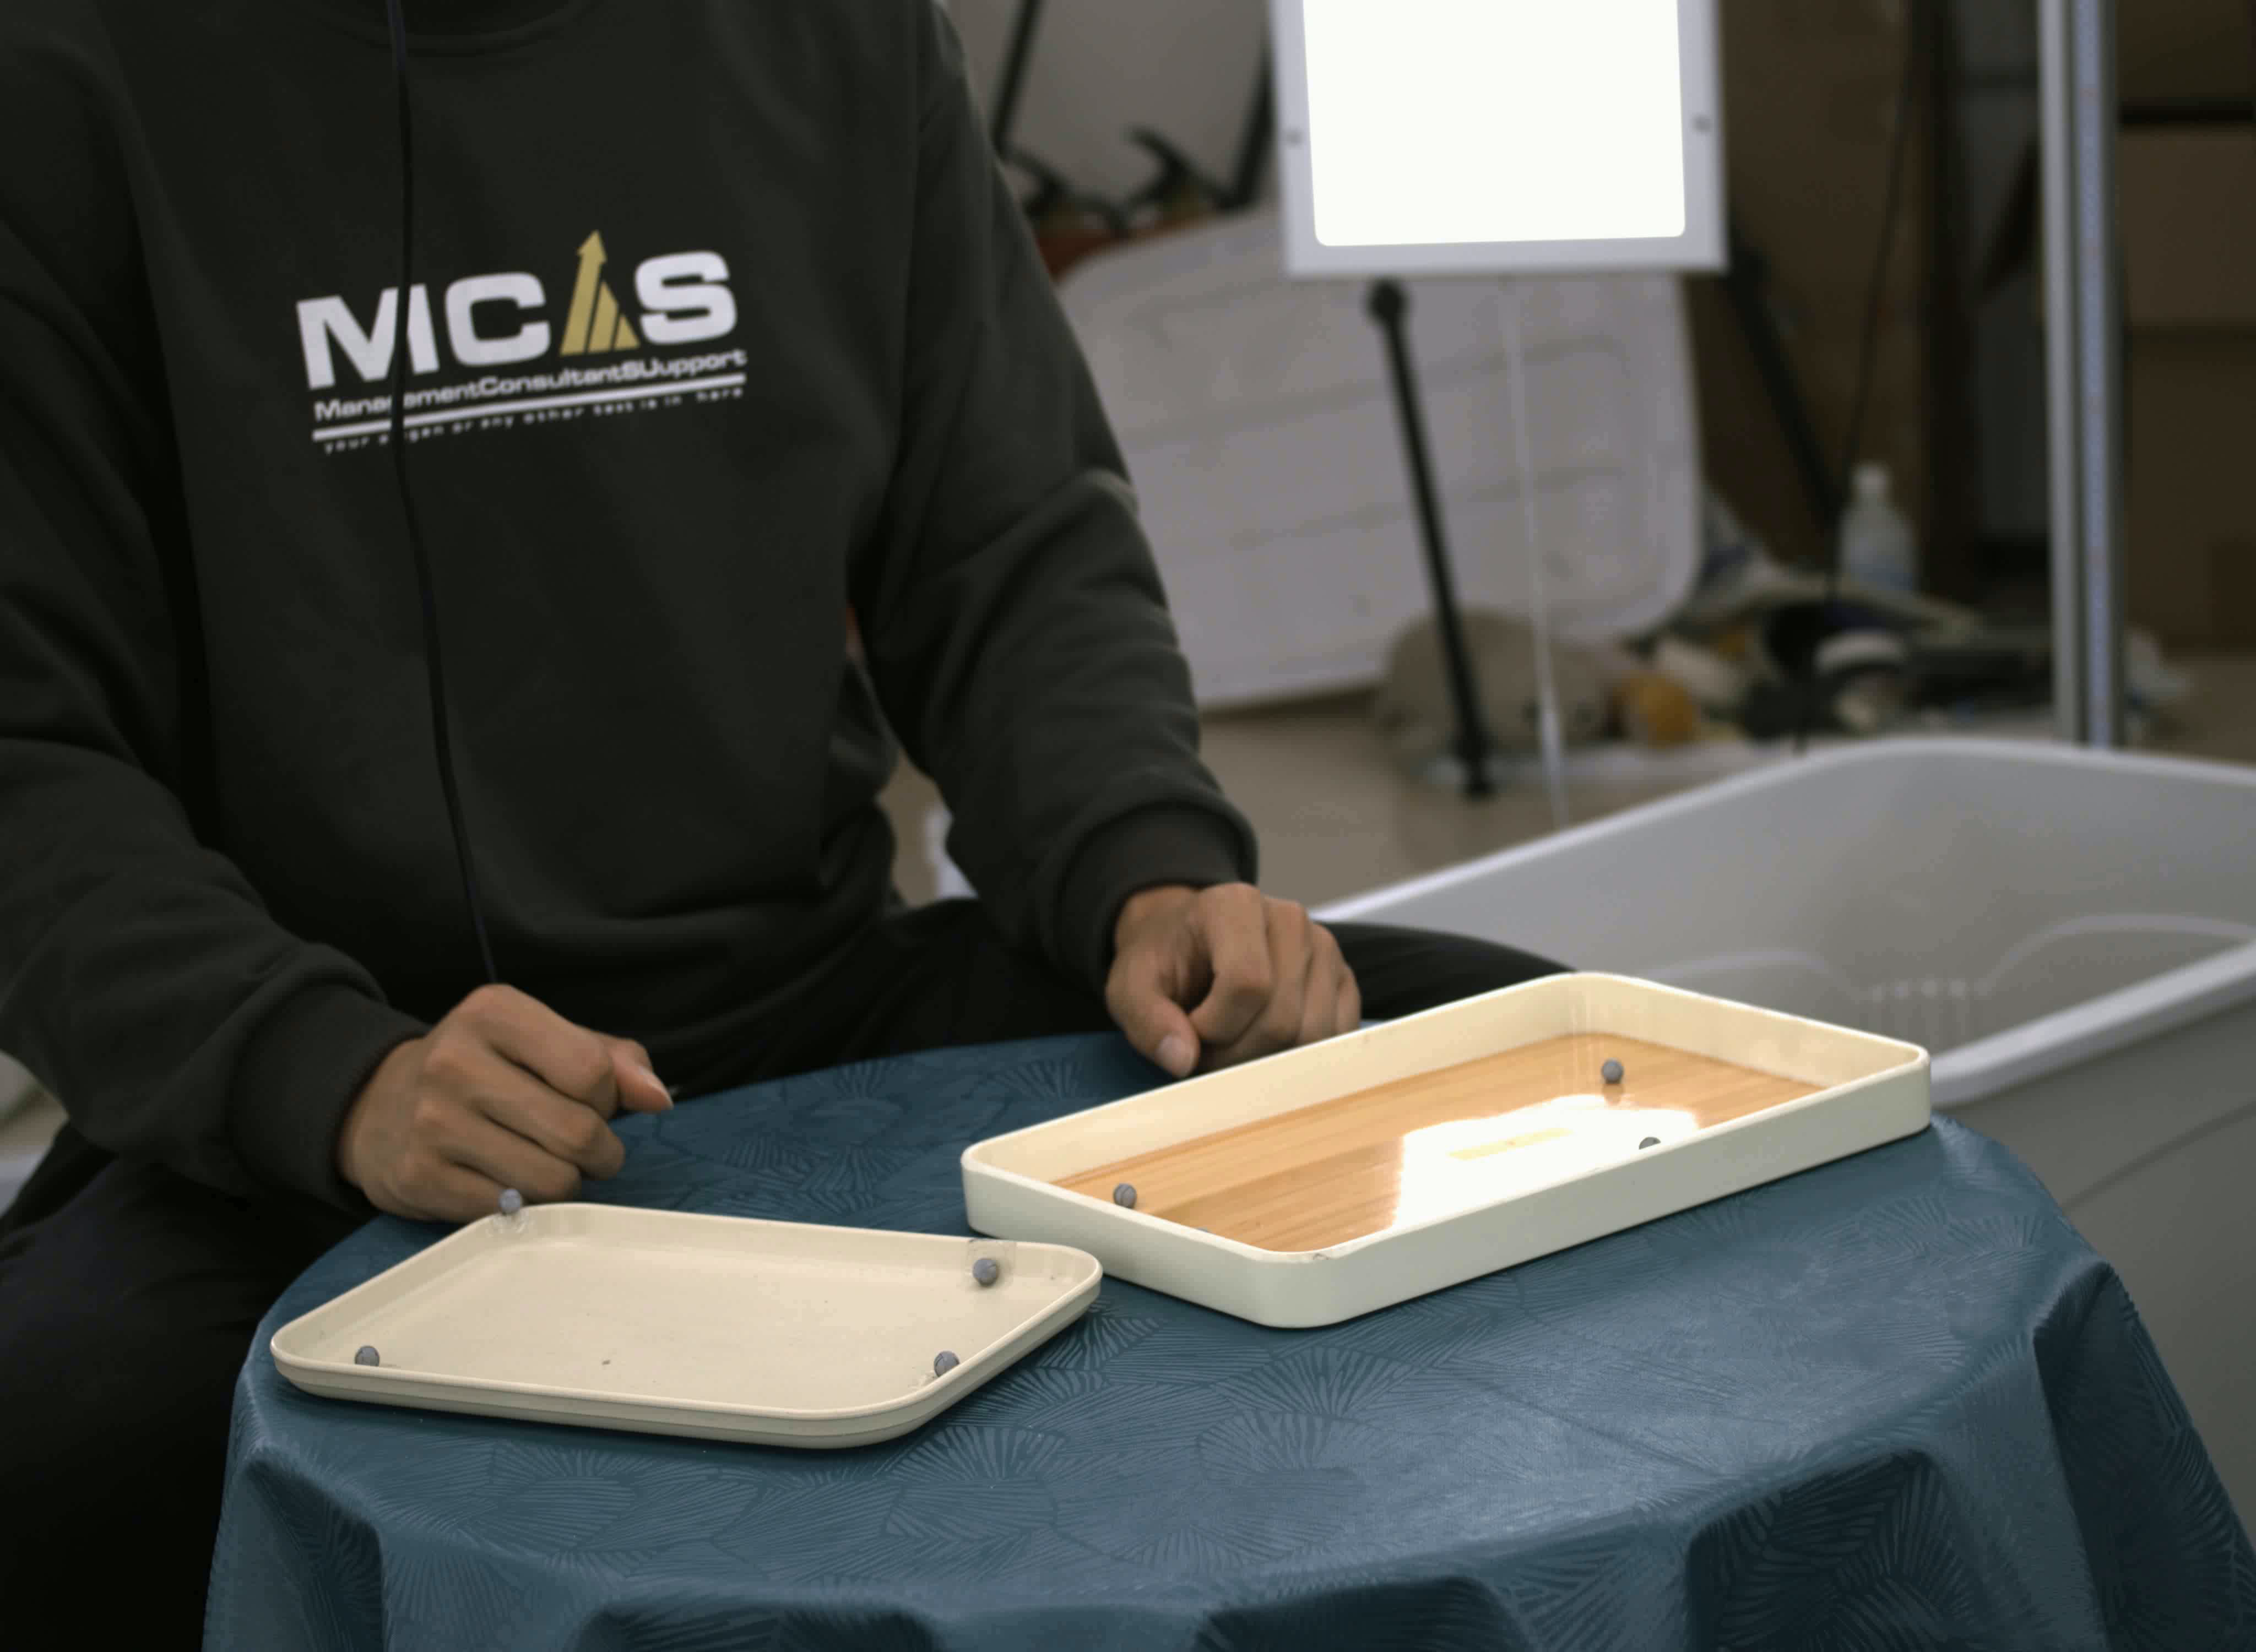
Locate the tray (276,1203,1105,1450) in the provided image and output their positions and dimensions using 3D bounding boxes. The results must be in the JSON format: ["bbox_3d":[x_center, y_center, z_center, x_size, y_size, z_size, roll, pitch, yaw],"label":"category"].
[{"bbox_3d":[-0.139,0.160,1.774,0.244,0.017,0.167,2,16,29],"label":"tray"}]

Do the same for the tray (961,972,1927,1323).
[{"bbox_3d":[0.111,0.106,1.887,0.293,0.027,0.195,-14,16,-34],"label":"tray"}]
